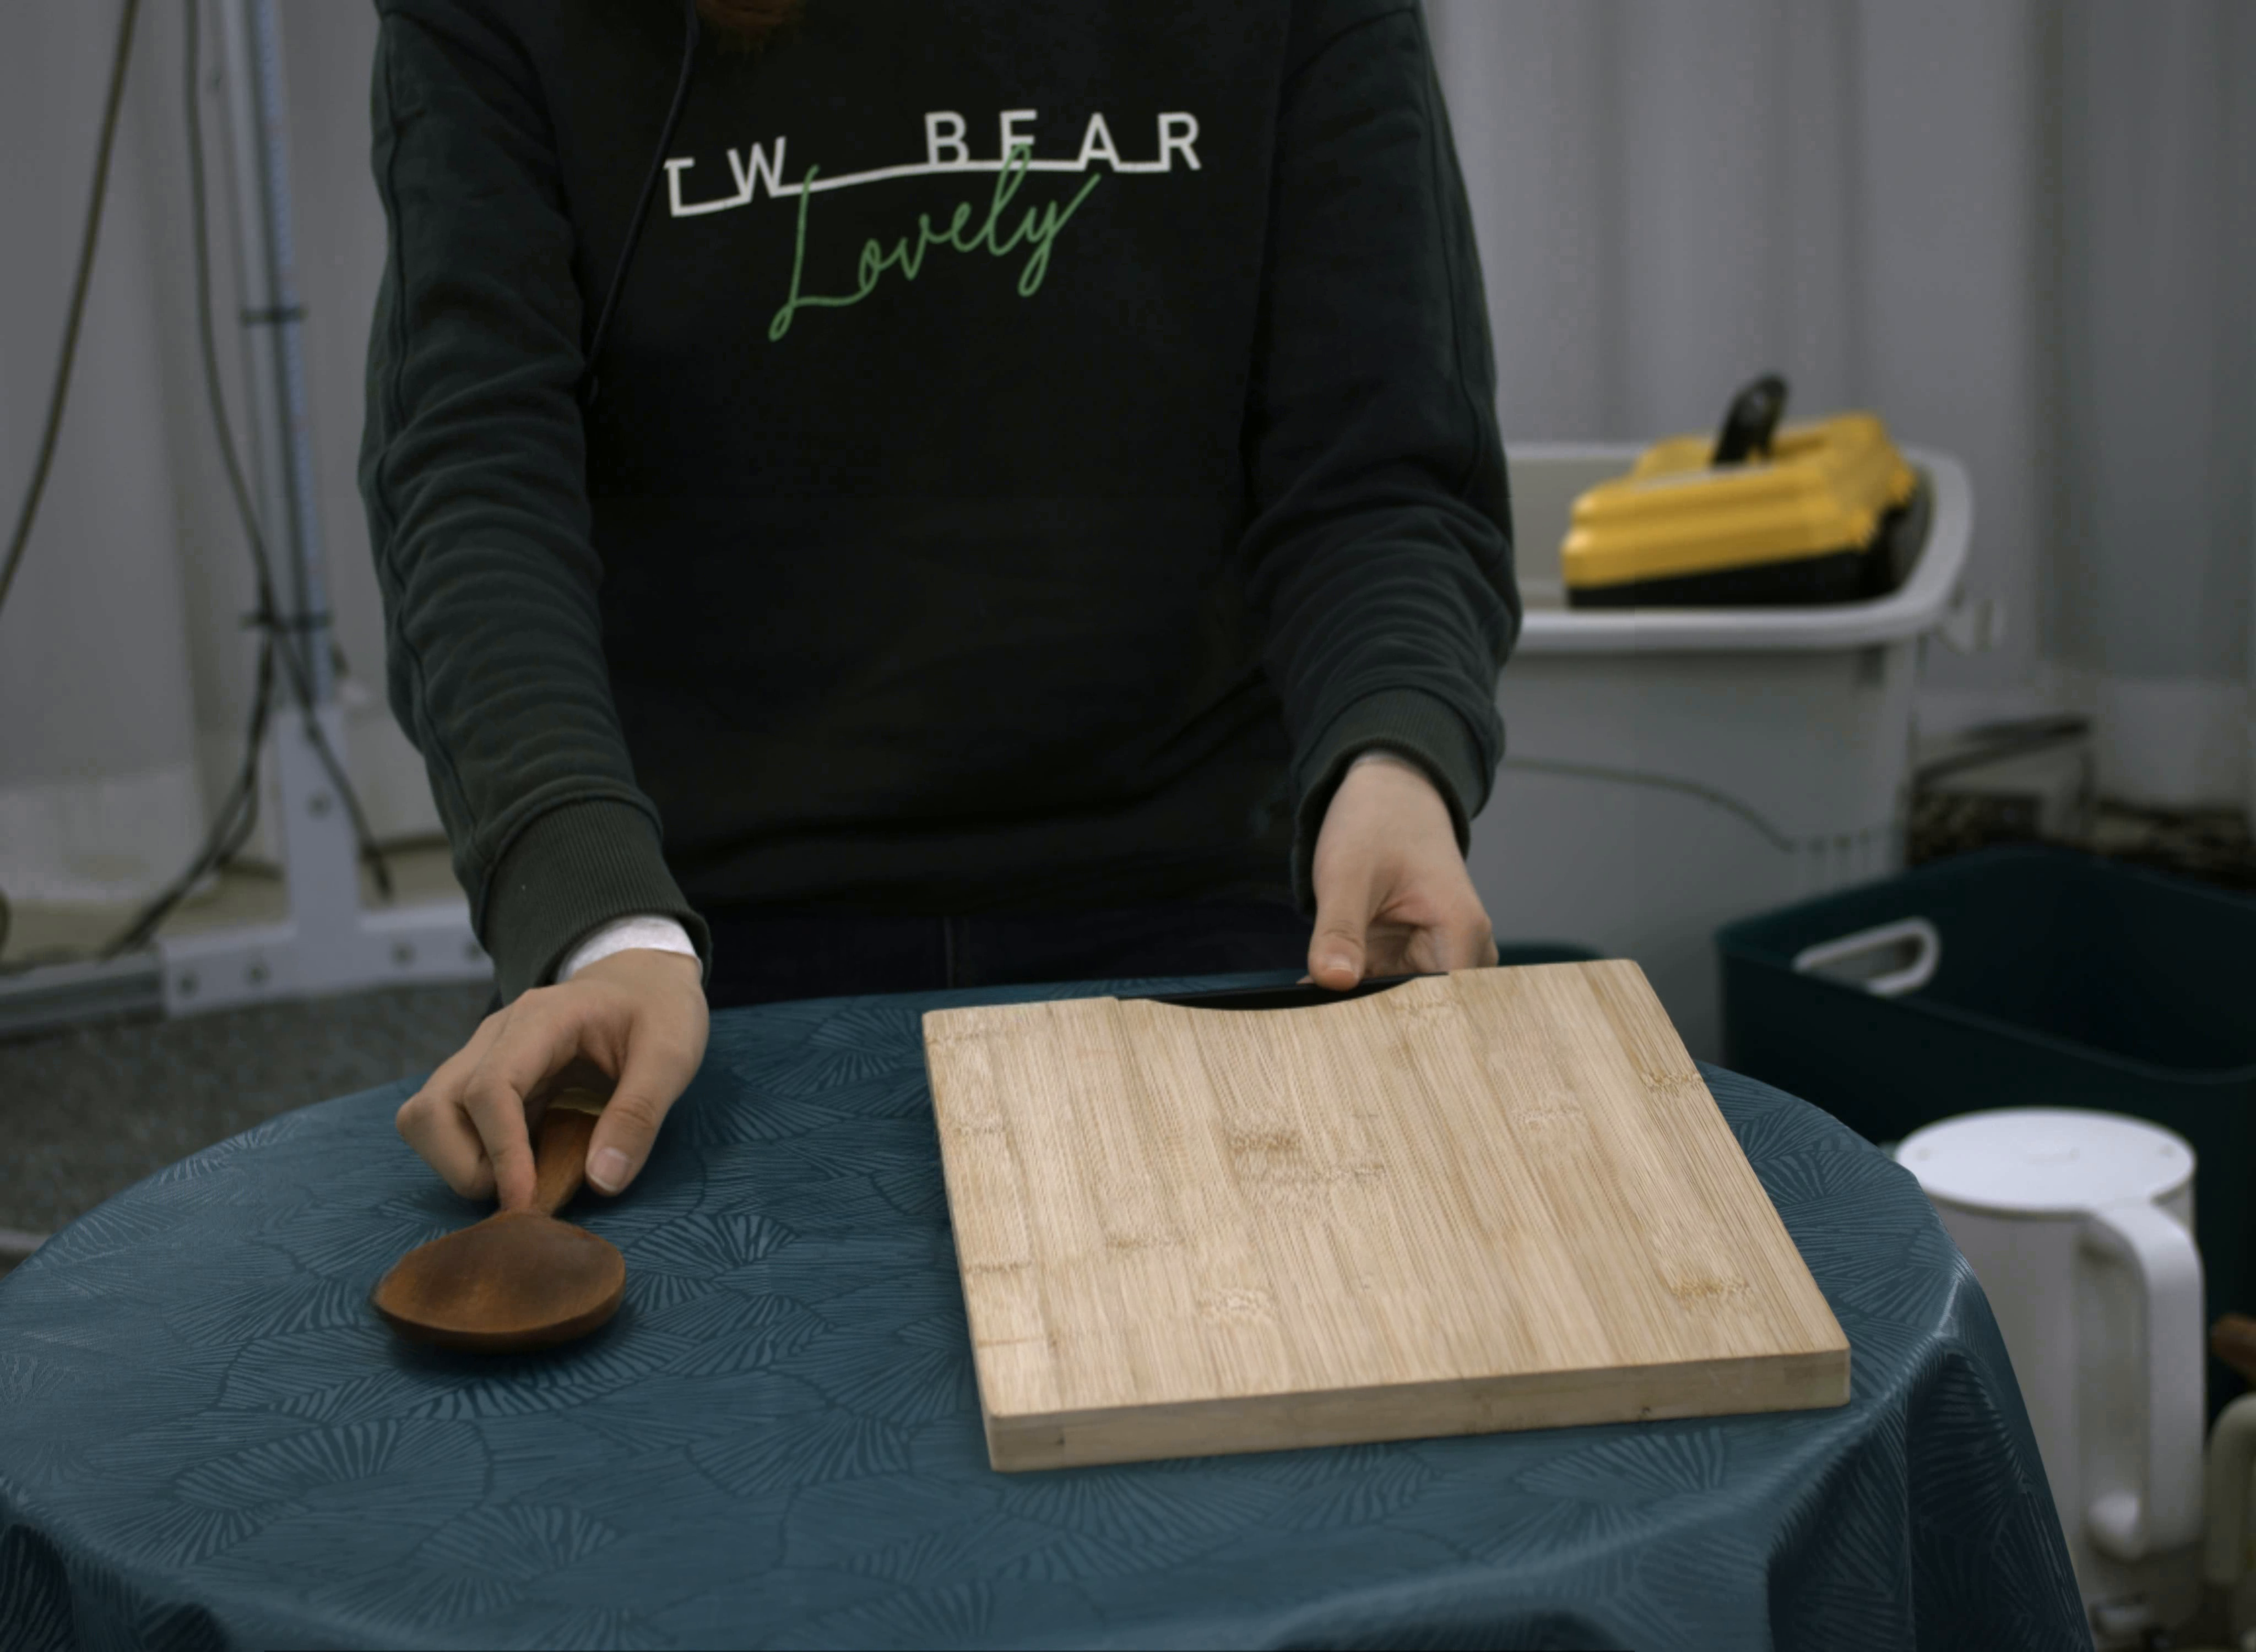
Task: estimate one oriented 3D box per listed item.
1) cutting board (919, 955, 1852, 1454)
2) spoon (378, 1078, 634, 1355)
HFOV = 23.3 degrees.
[{"bbox_3d":[0.065,0.110,1.663,0.250,0.023,0.351,-4,17,-5],"label":"cutting board"},{"bbox_3d":[-0.180,0.121,1.681,0.075,0.017,0.217,-2,17,4],"label":"spoon"}]
